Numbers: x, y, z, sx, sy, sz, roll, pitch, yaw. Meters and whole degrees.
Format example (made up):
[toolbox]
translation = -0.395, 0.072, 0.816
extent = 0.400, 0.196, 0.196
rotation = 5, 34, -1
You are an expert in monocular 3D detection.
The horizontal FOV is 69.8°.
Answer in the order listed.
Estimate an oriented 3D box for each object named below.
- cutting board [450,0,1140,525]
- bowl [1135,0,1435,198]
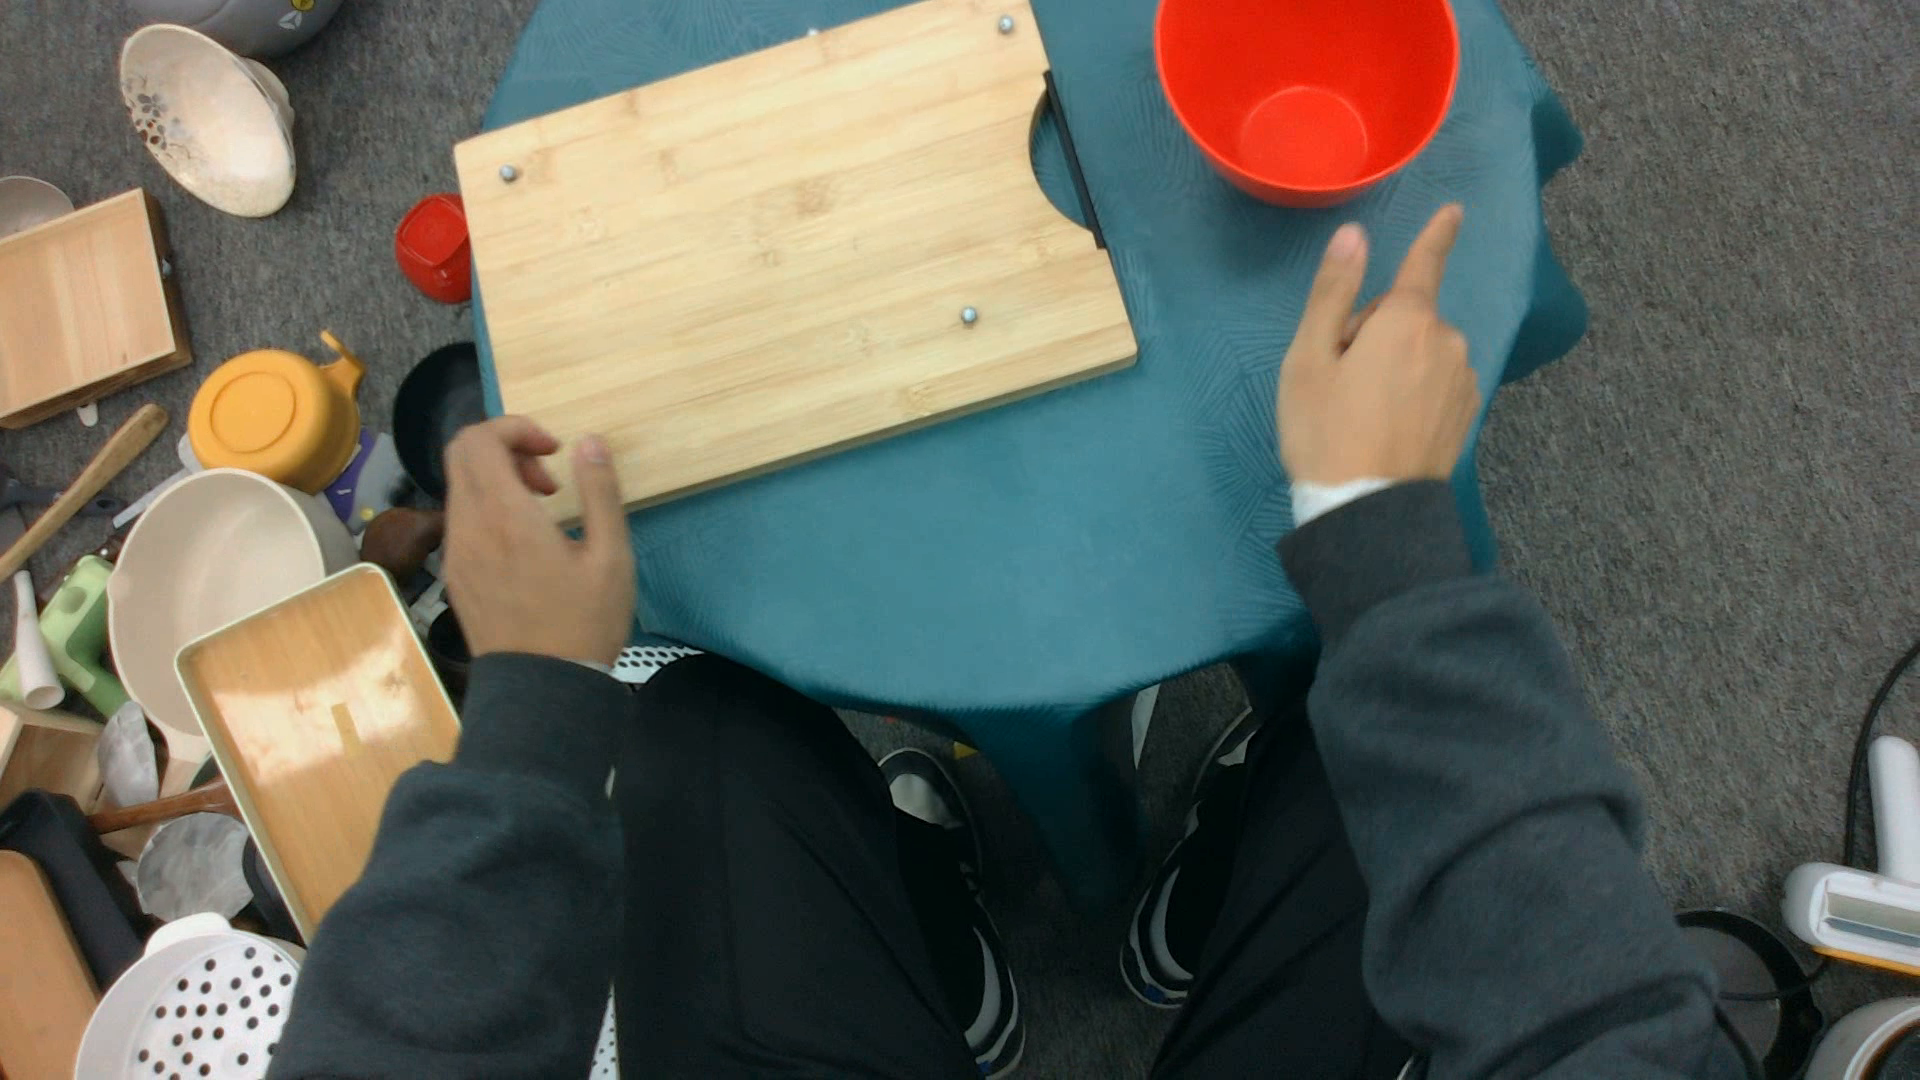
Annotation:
[cutting board]
translation = -0.102, -0.168, 0.767
extent = 0.348, 0.023, 0.251
rotation = -17, 77, 2
[bowl]
translation = 0.163, -0.239, 0.713
extent = 0.148, 0.104, 0.148
rotation = -1, 75, 5
